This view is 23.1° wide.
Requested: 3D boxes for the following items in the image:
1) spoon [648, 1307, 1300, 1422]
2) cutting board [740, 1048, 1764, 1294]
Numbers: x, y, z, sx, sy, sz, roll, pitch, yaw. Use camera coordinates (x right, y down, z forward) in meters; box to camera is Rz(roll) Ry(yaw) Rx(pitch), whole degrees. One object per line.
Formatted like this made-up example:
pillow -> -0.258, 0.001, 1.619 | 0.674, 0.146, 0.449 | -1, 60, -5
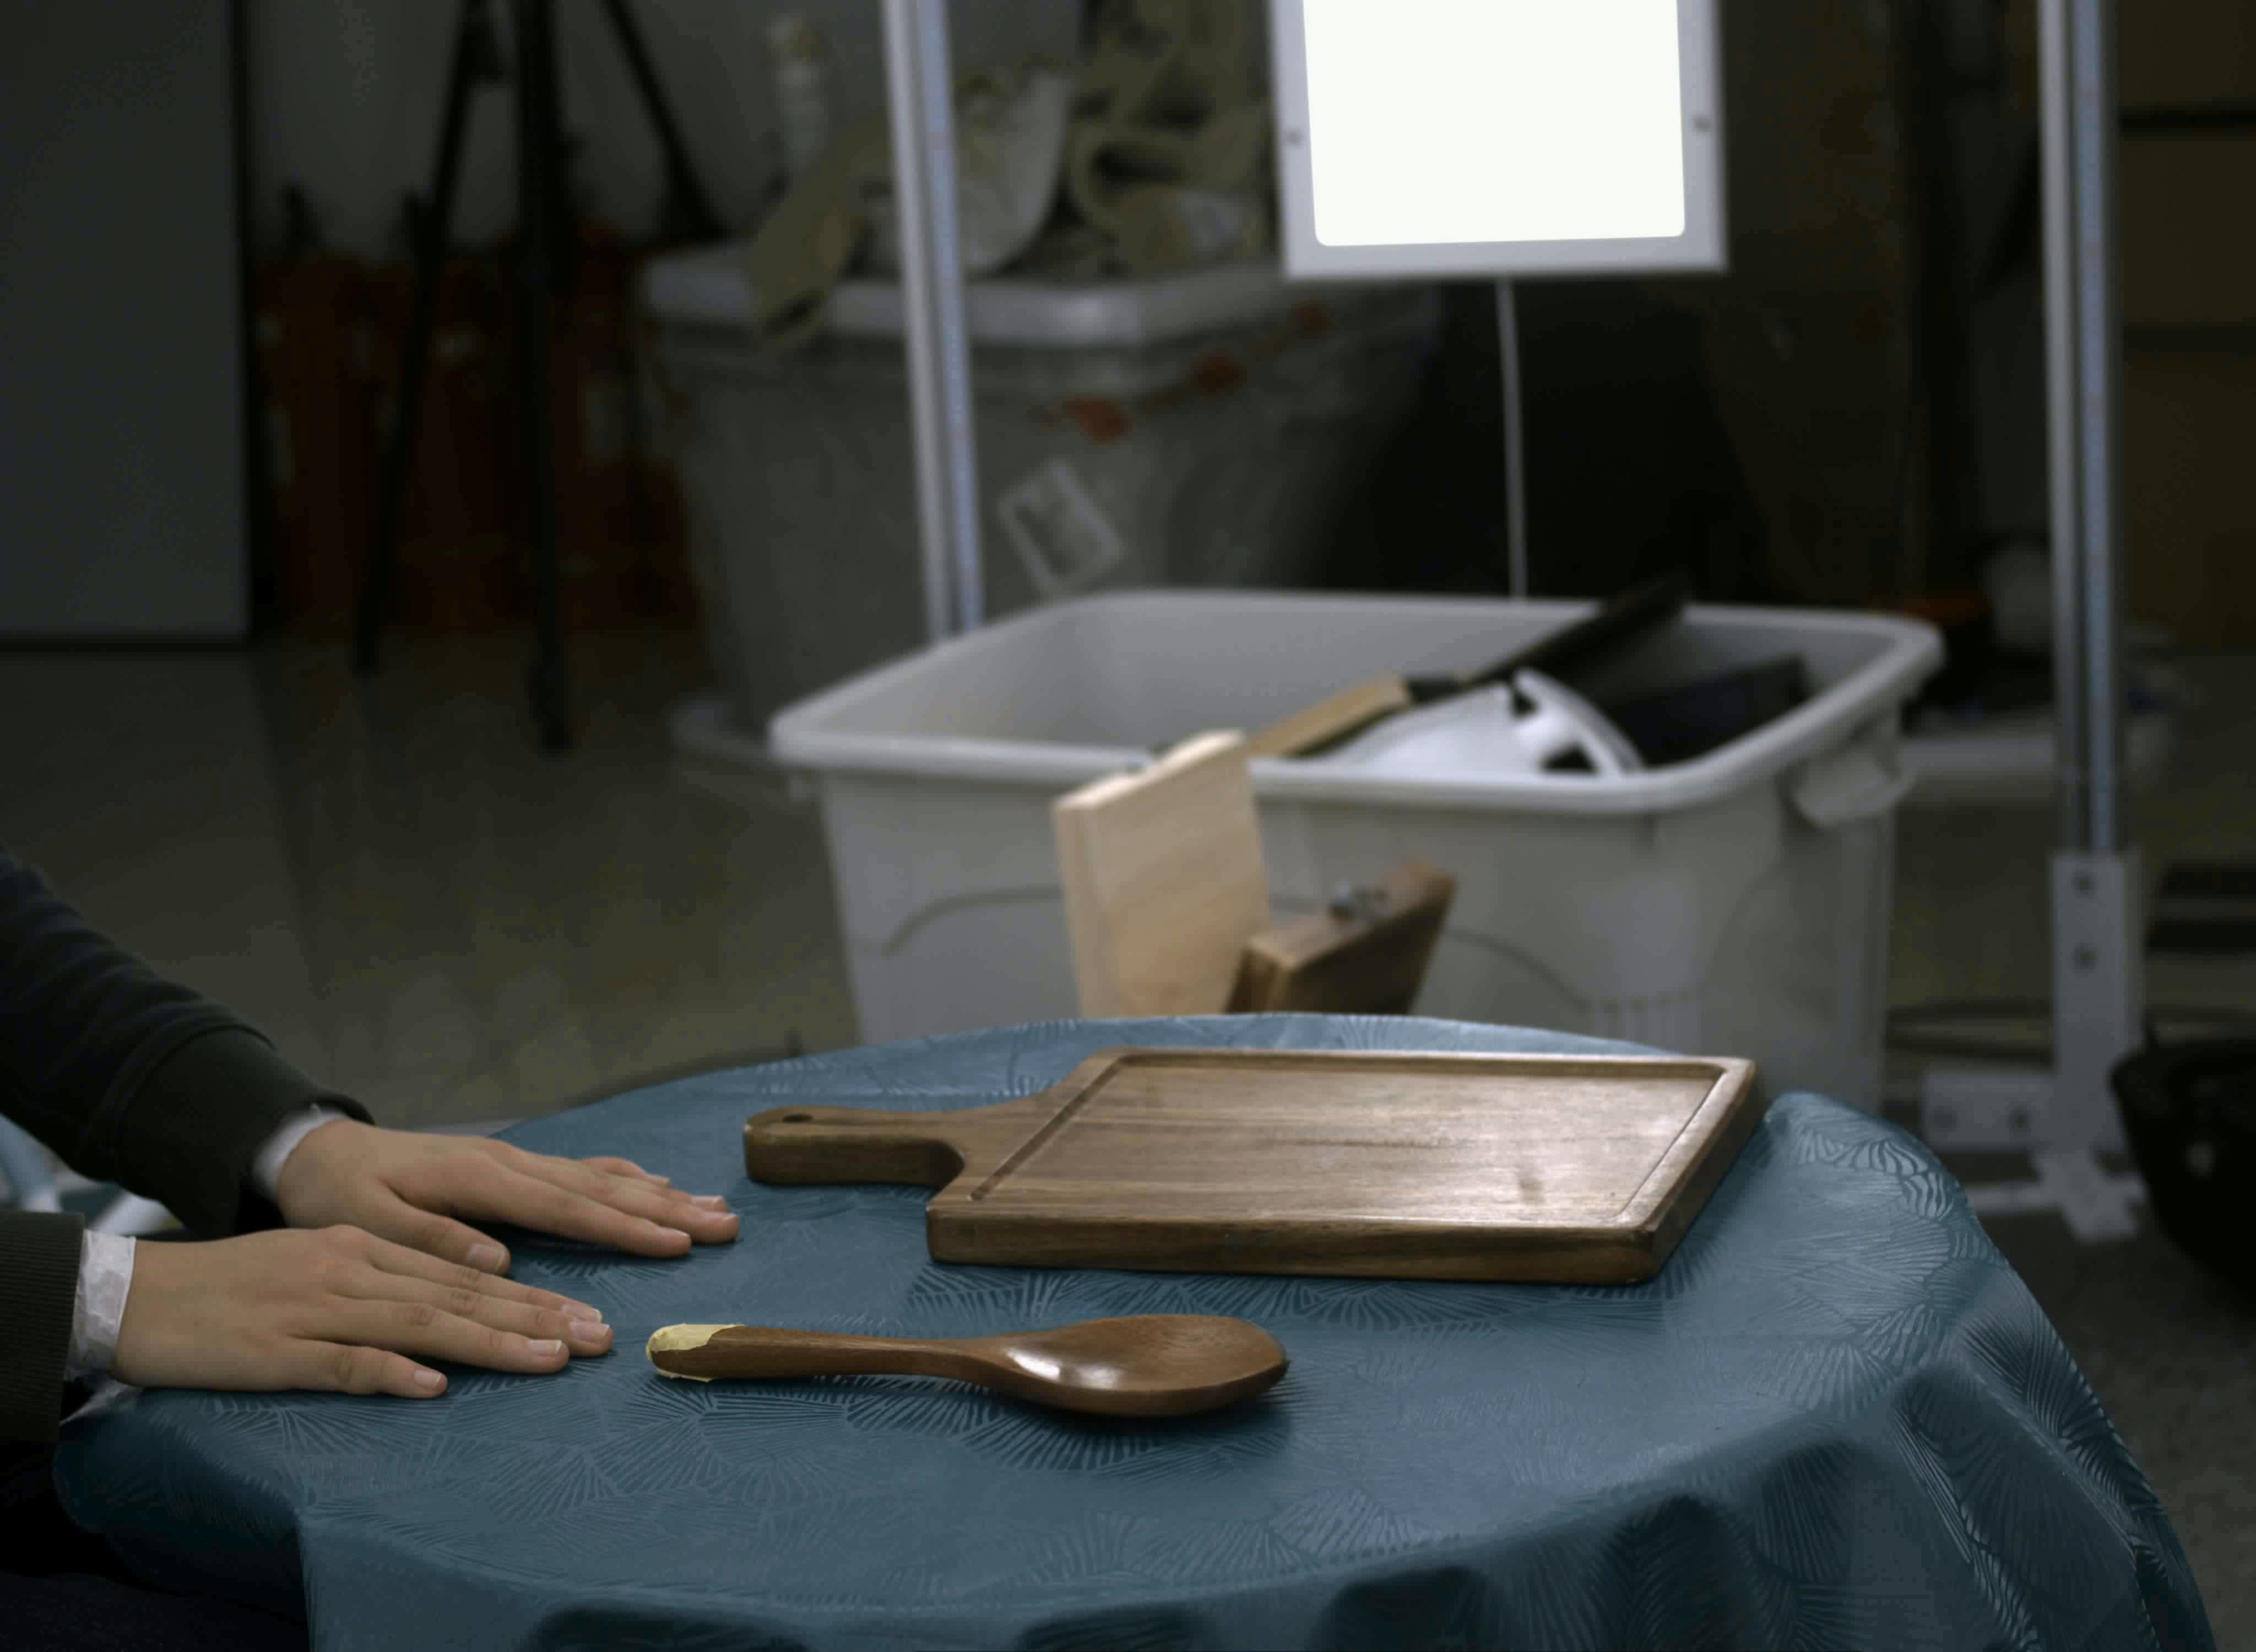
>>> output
spoon -> -0.050, 0.166, 1.716 | 0.219, 0.017, 0.074 | 1, 17, 22
cutting board -> 0.032, 0.115, 1.898 | 0.357, 0.023, 0.197 | 0, 16, 20
